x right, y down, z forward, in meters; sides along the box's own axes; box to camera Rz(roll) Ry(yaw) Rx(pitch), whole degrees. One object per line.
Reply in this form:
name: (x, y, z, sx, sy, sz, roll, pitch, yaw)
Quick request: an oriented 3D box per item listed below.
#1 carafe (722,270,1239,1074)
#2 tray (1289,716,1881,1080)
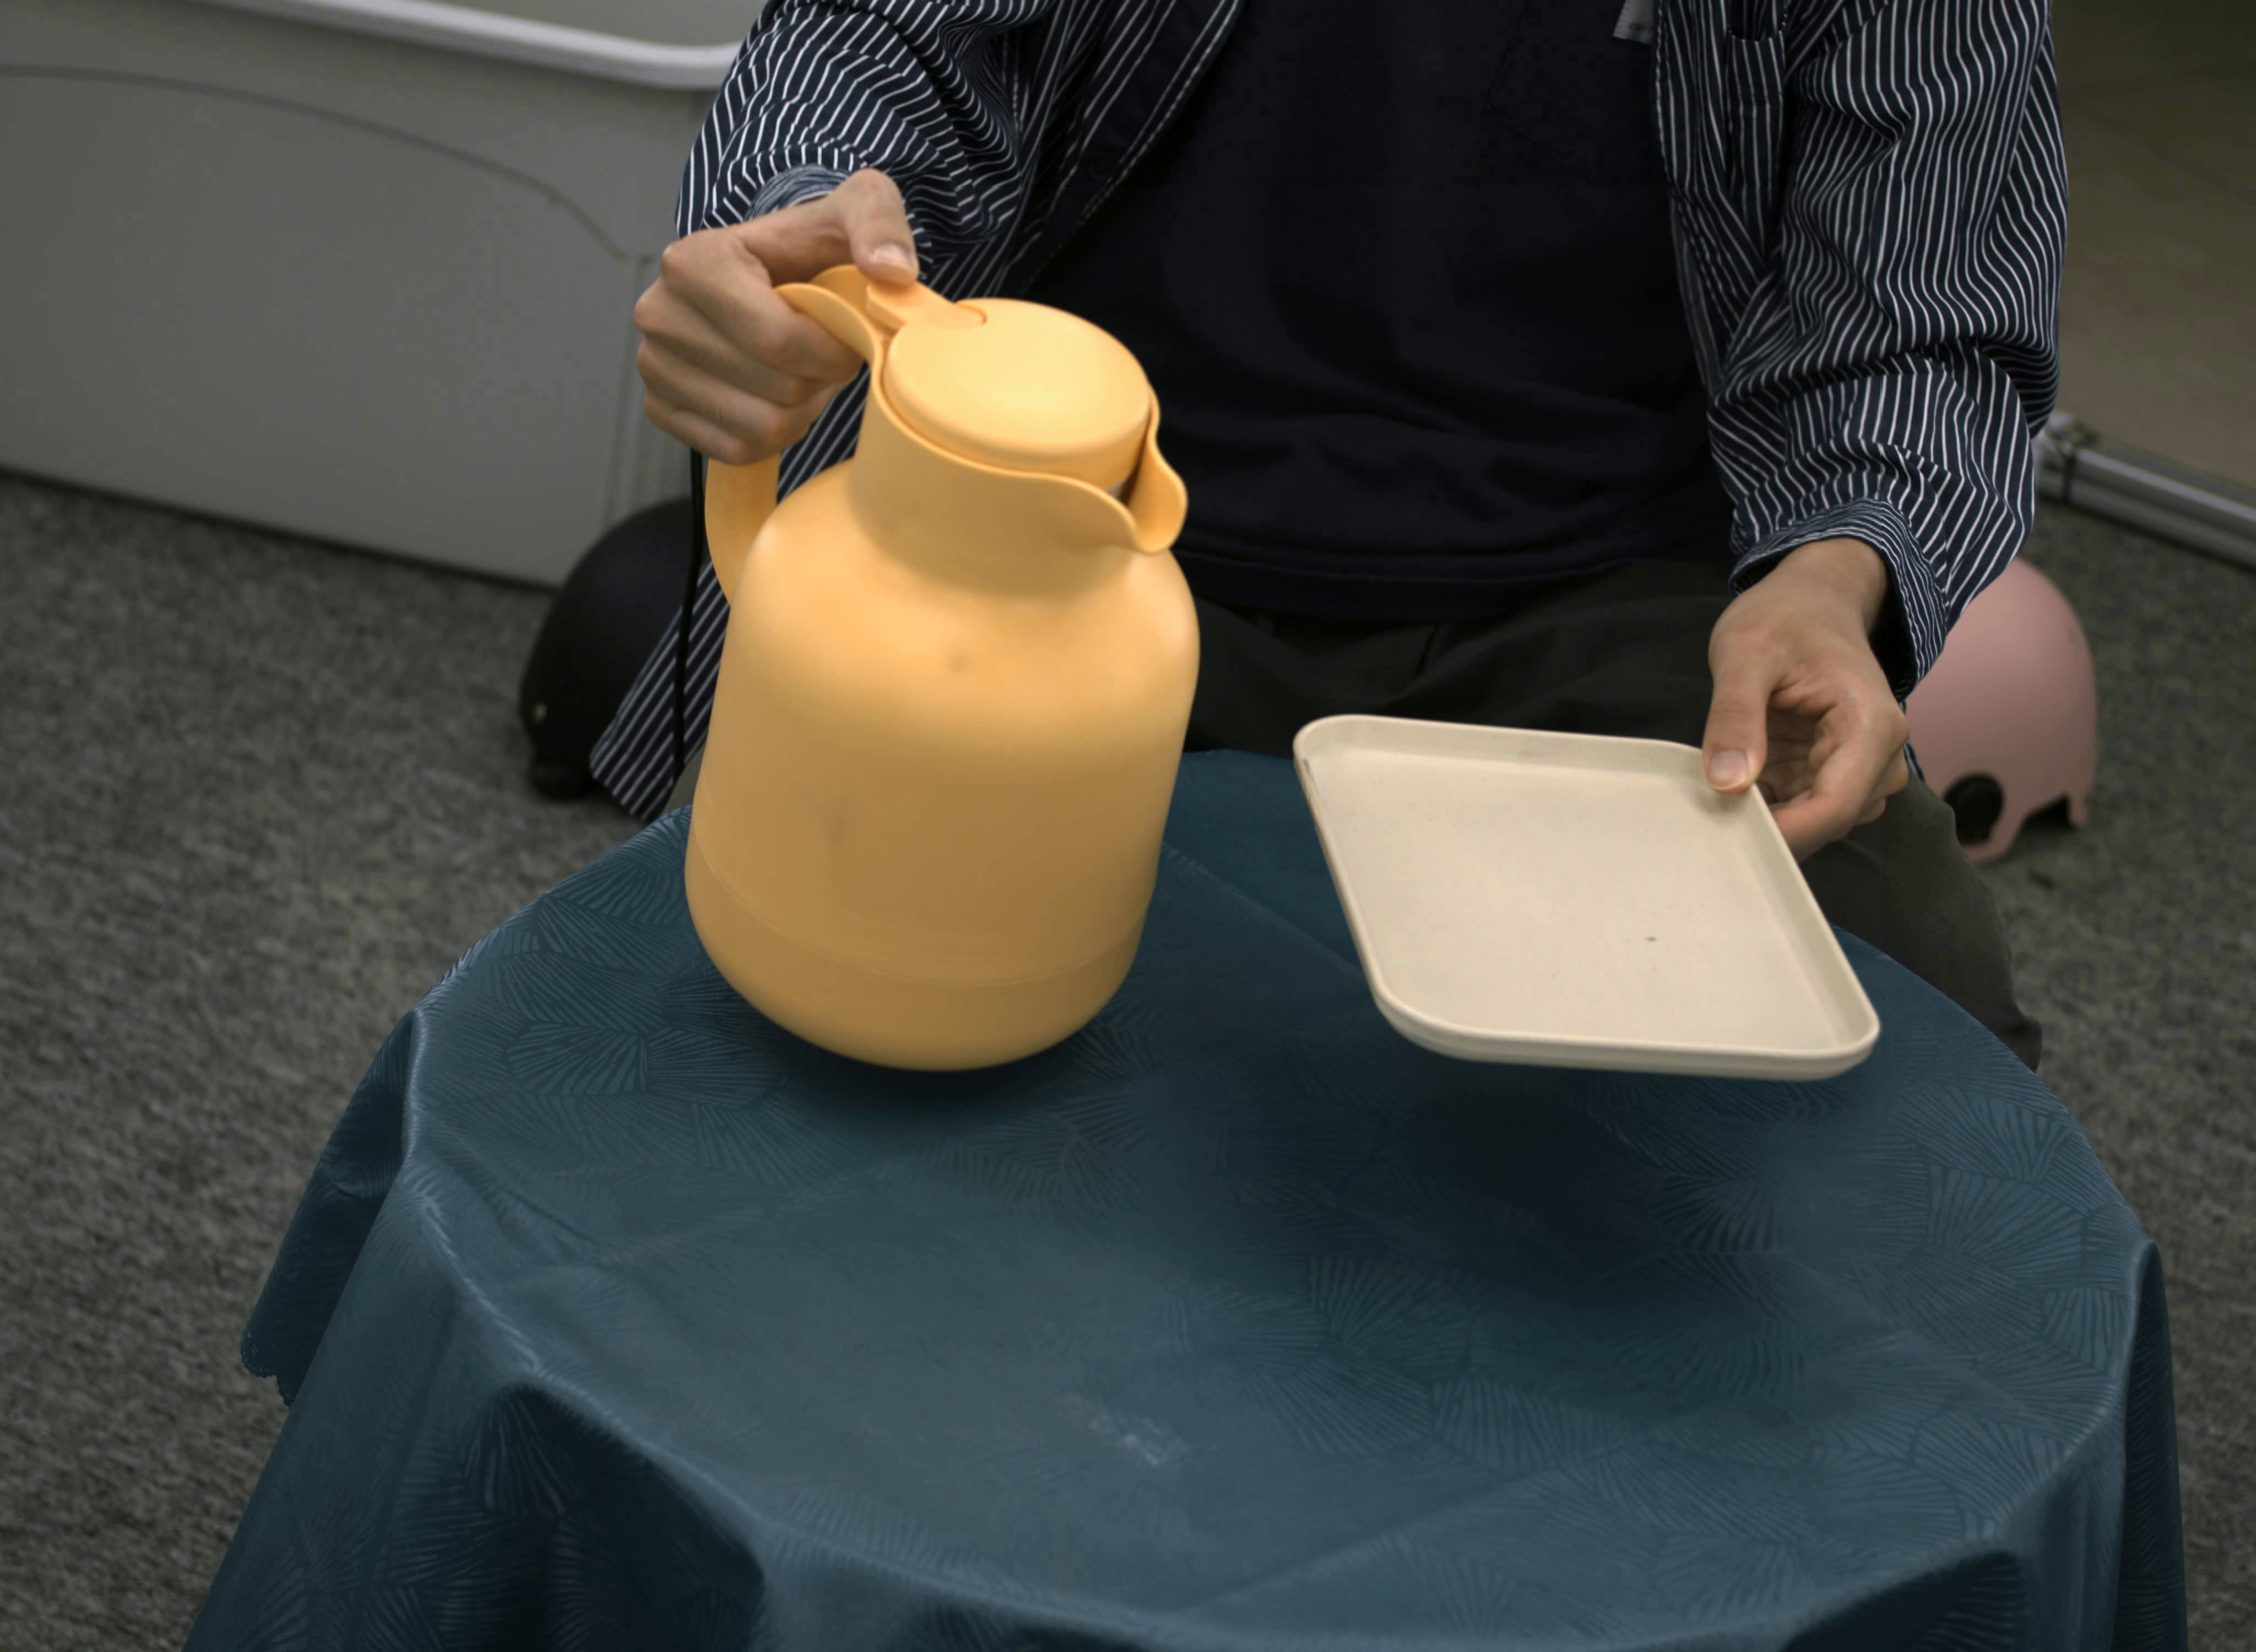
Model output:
carafe: (-0.057, -0.063, 1.825, 0.204, 0.259, 0.163, 36, 41, 27)
tray: (0.150, 0.024, 1.808, 0.170, 0.017, 0.241, 5, 25, -10)
